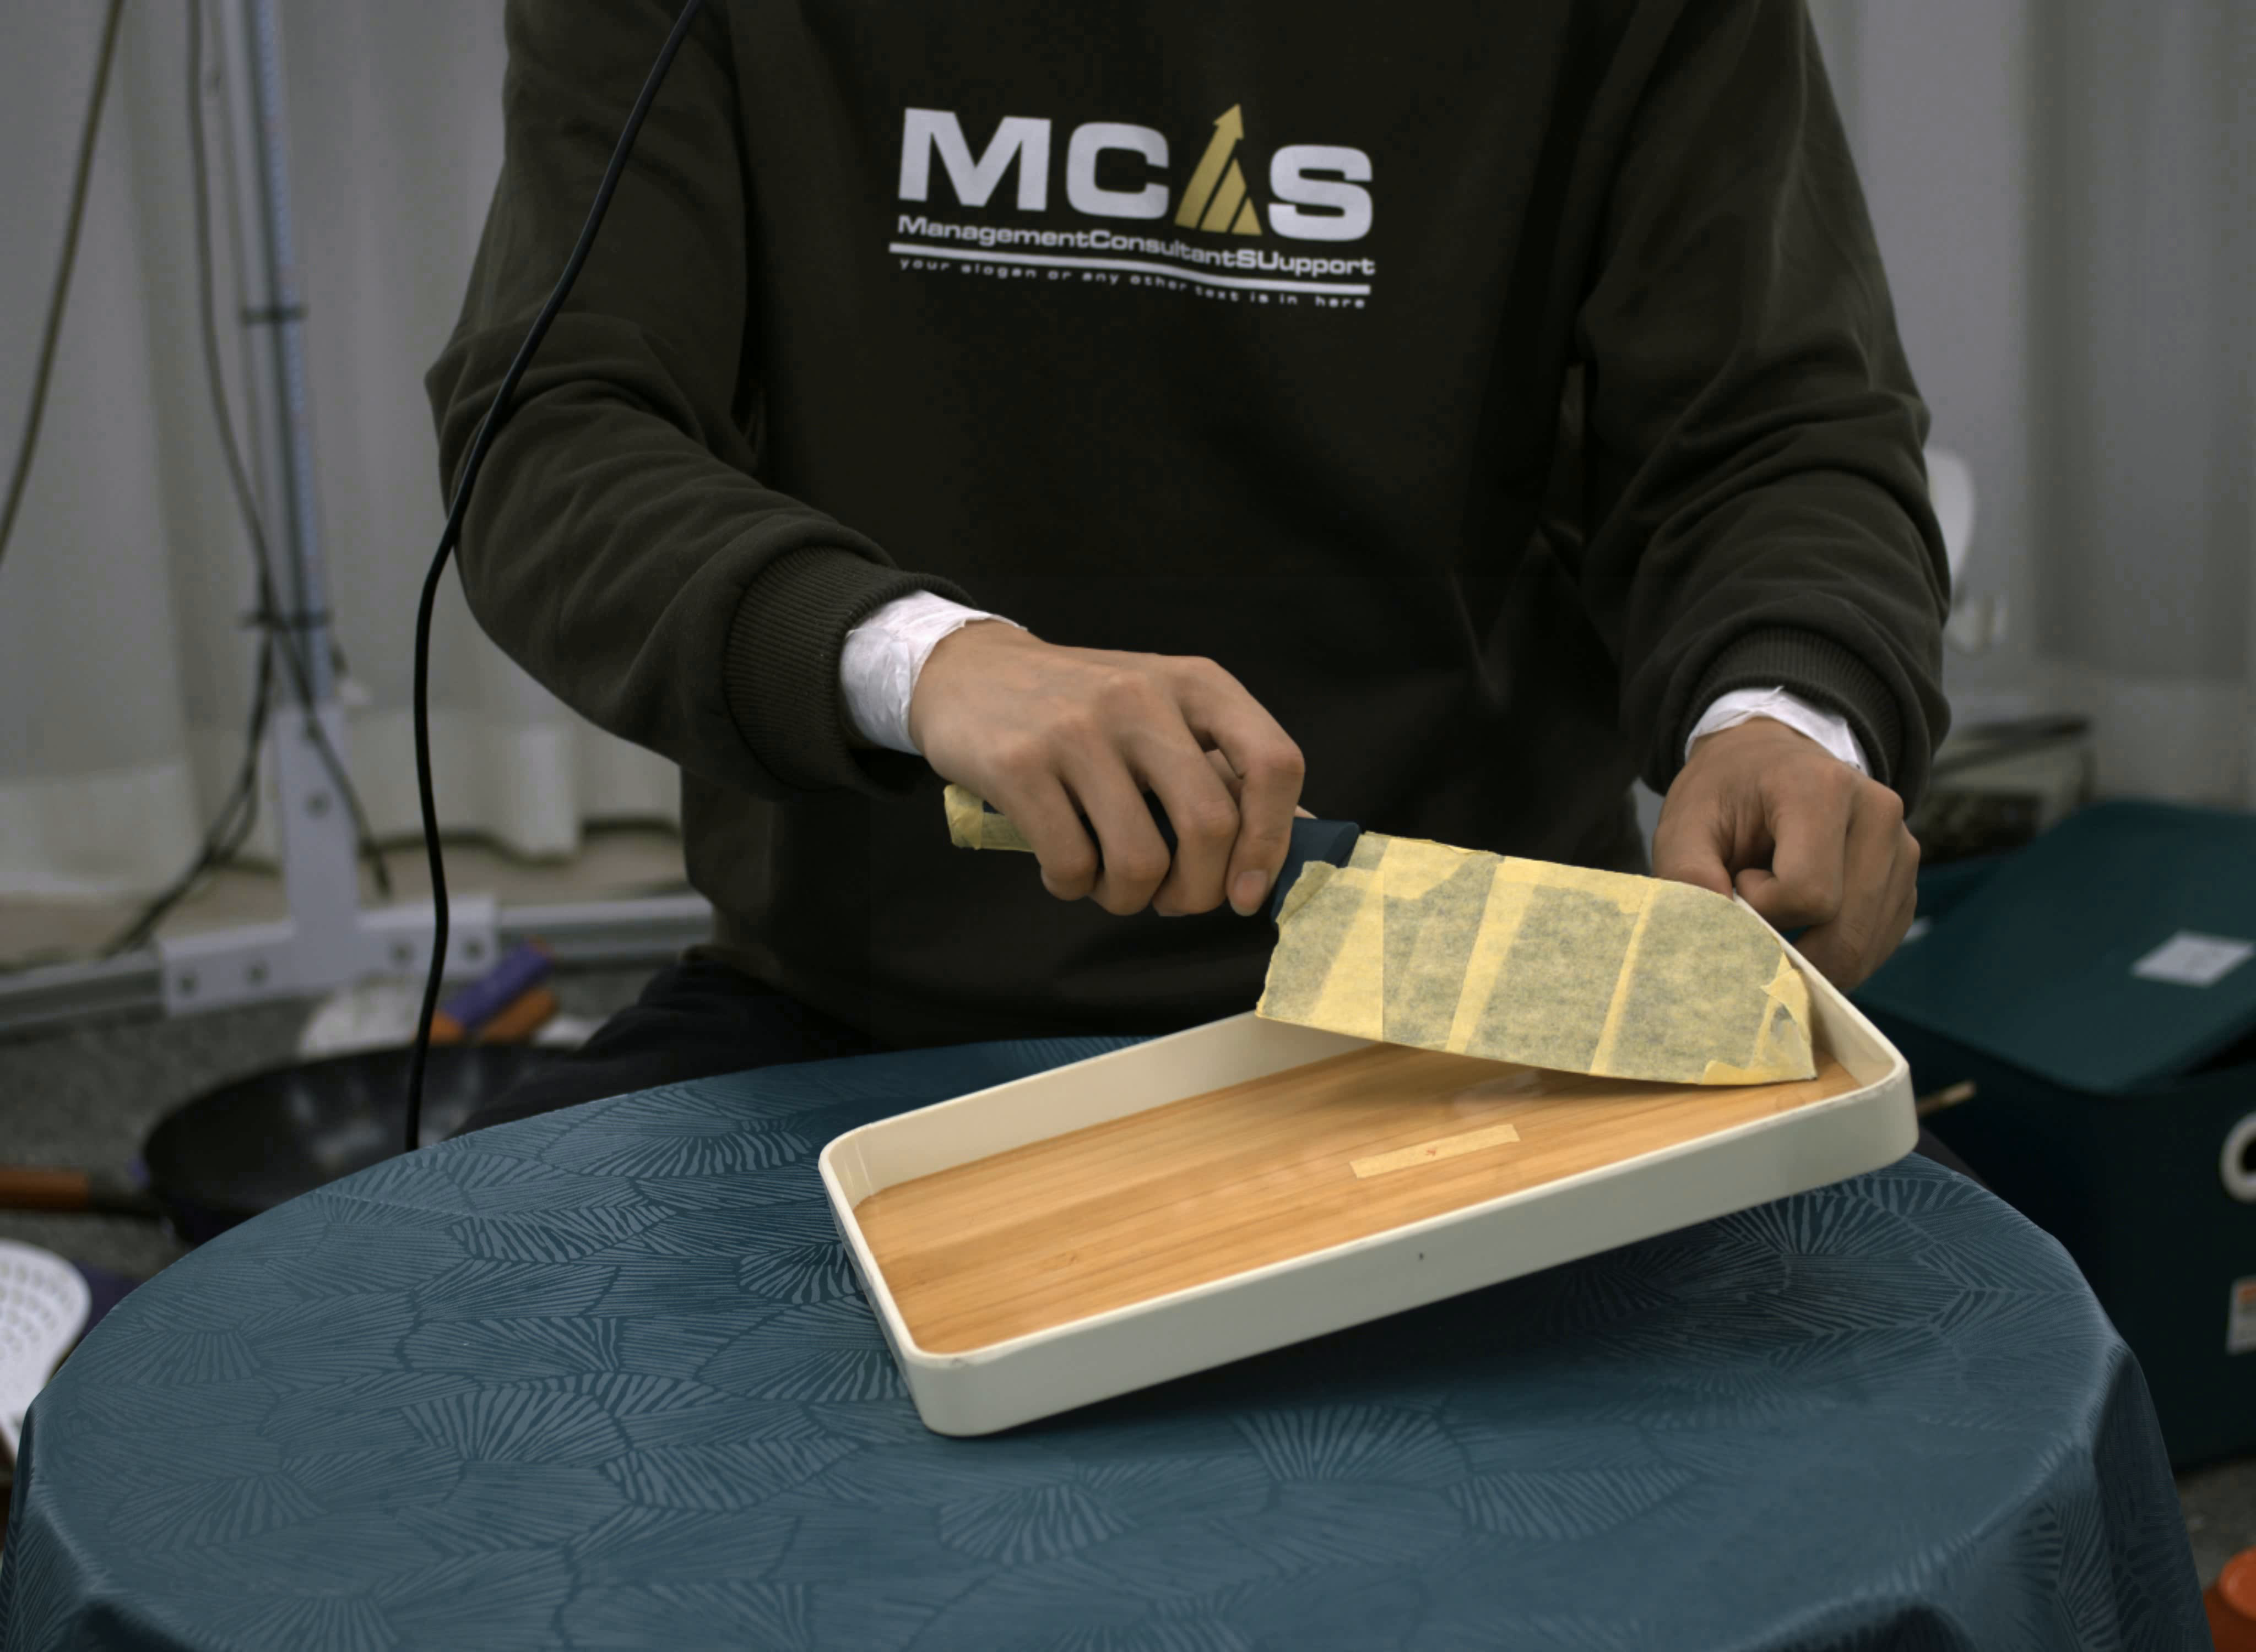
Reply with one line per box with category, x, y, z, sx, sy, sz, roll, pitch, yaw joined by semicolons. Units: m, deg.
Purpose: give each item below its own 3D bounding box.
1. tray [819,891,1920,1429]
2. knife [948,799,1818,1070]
tray;0.066;0.094;1.614;0.299;0.027;0.193;-16;18;-7
knife;0.072;0.033;1.671;0.290;0.027;0.082;10;54;22
